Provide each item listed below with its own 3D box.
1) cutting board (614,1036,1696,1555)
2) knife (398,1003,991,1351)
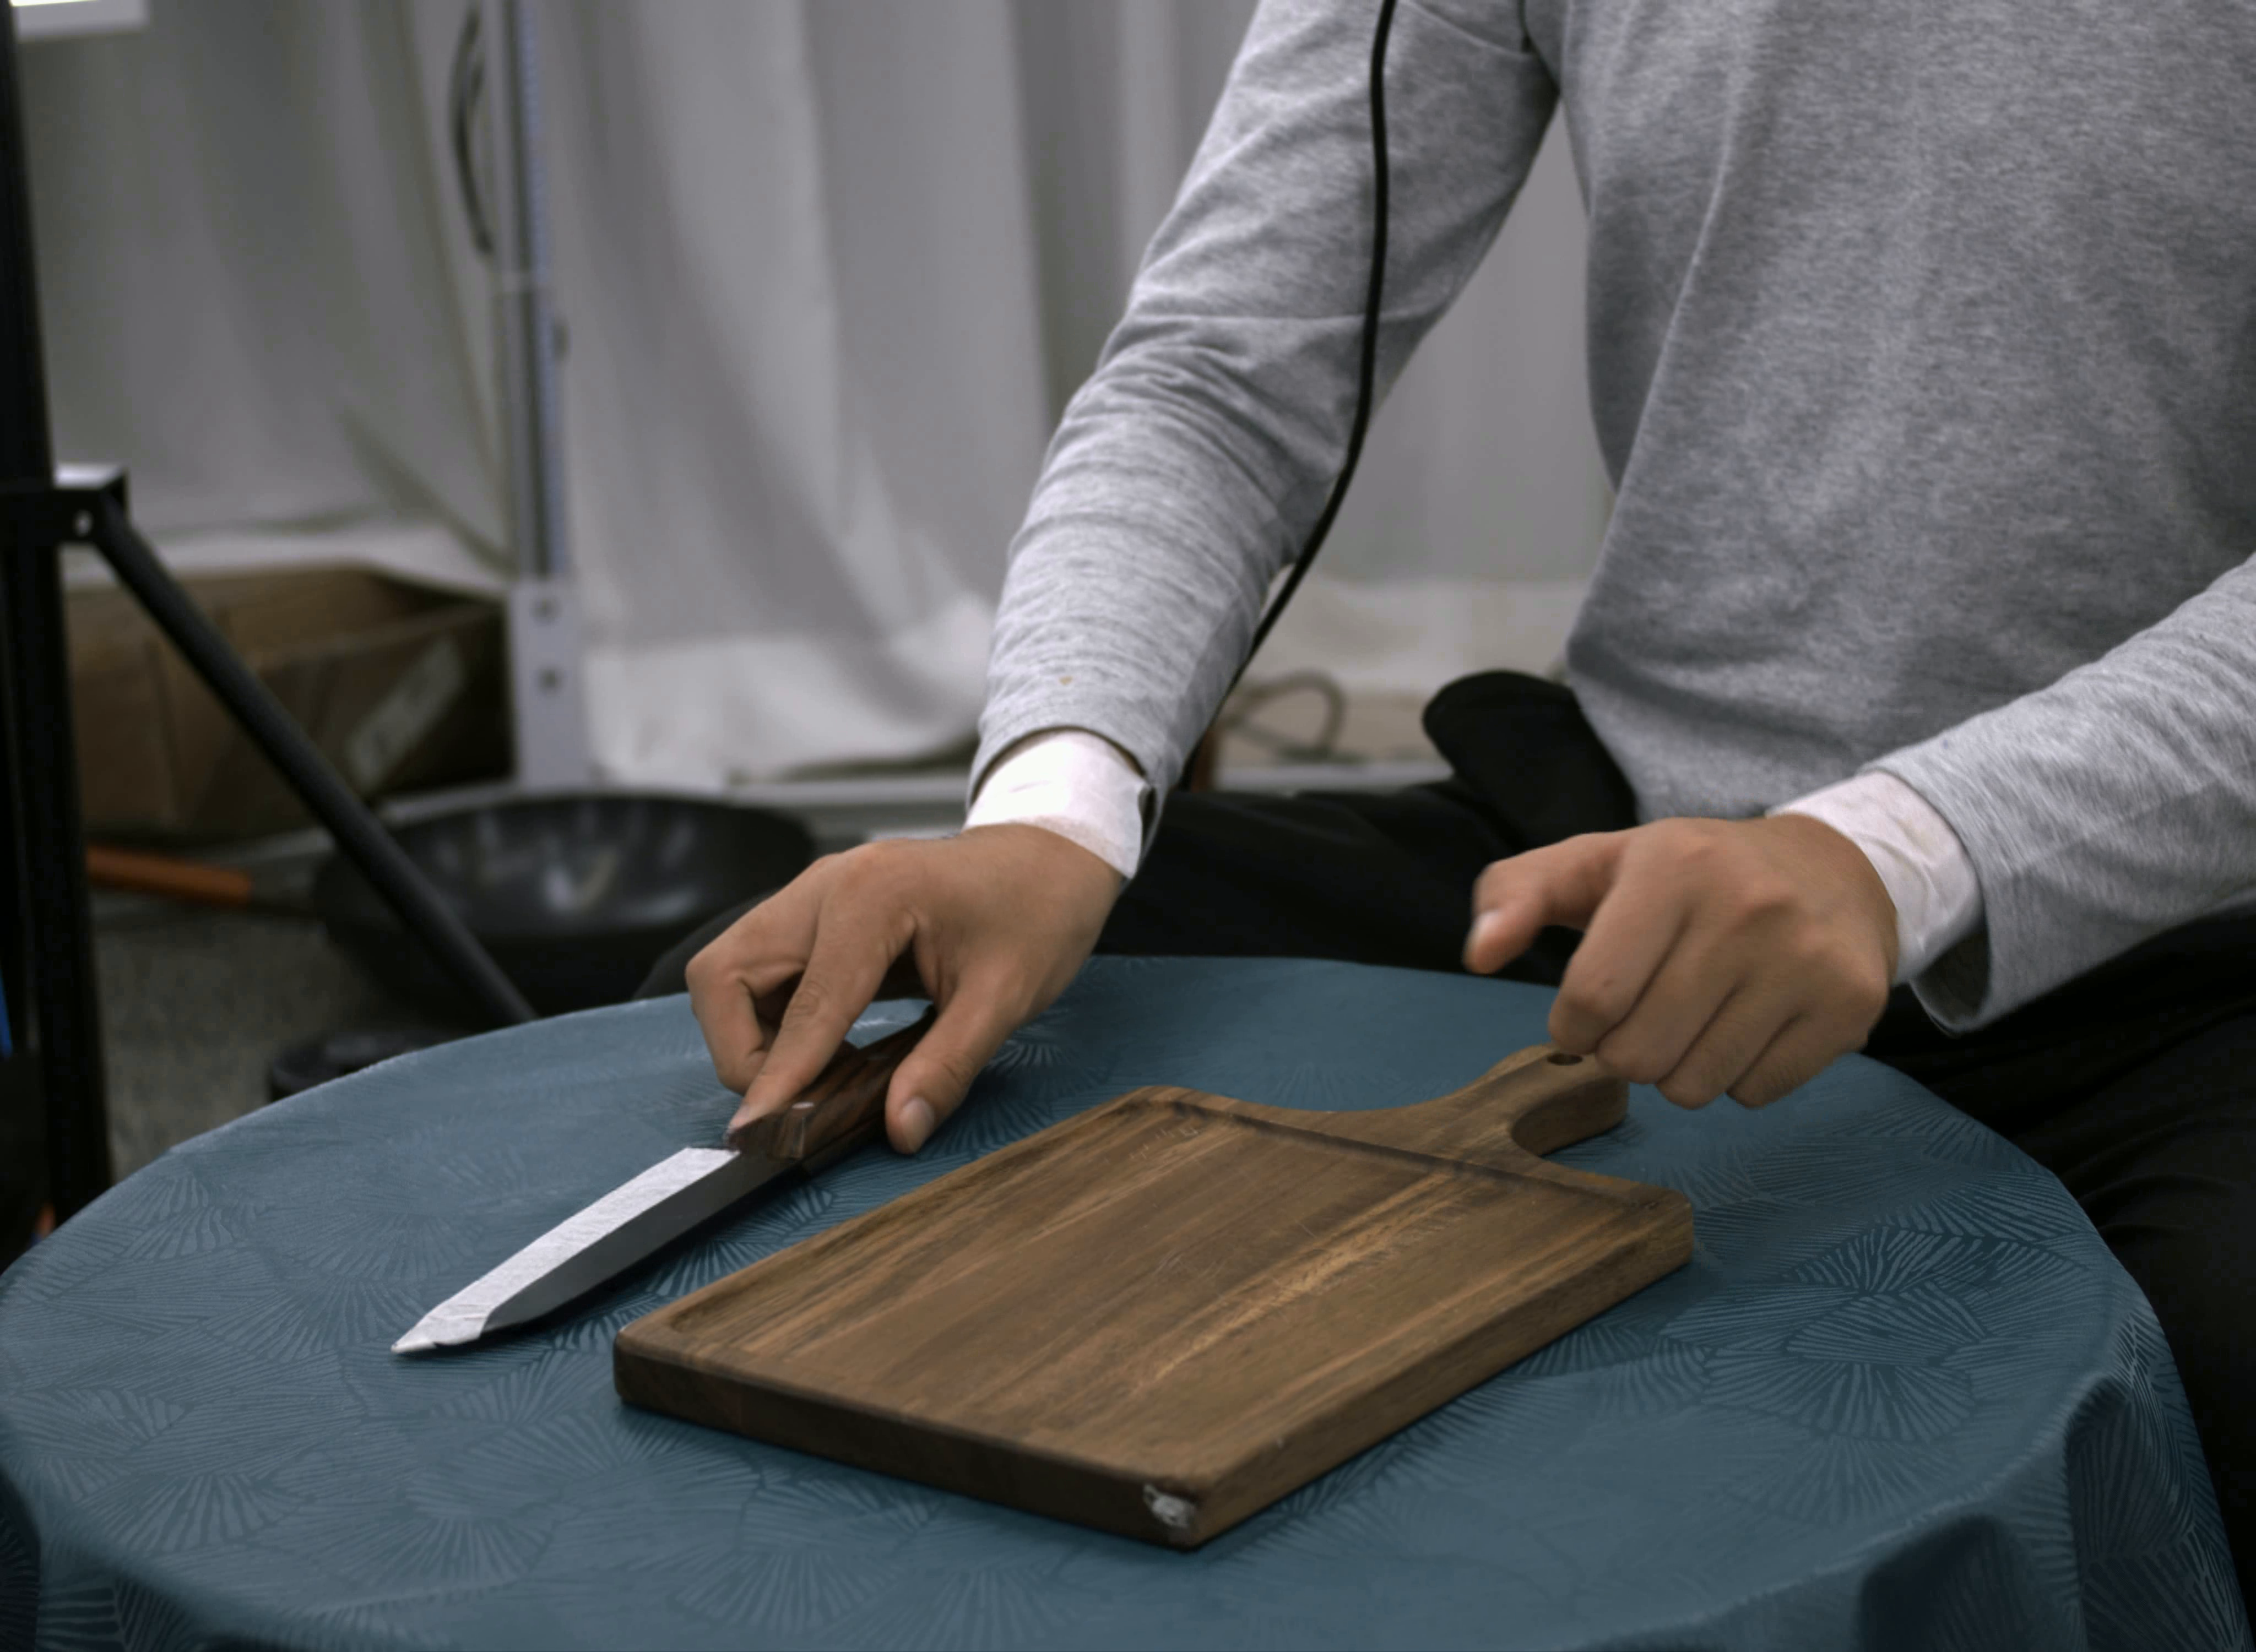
[{"bbox_3d":[0.041,0.117,1.488,0.205,0.023,0.345,10,20,36],"label":"cutting board"},{"bbox_3d":[-0.122,0.104,1.568,0.051,0.020,0.284,1,17,32],"label":"knife"}]
